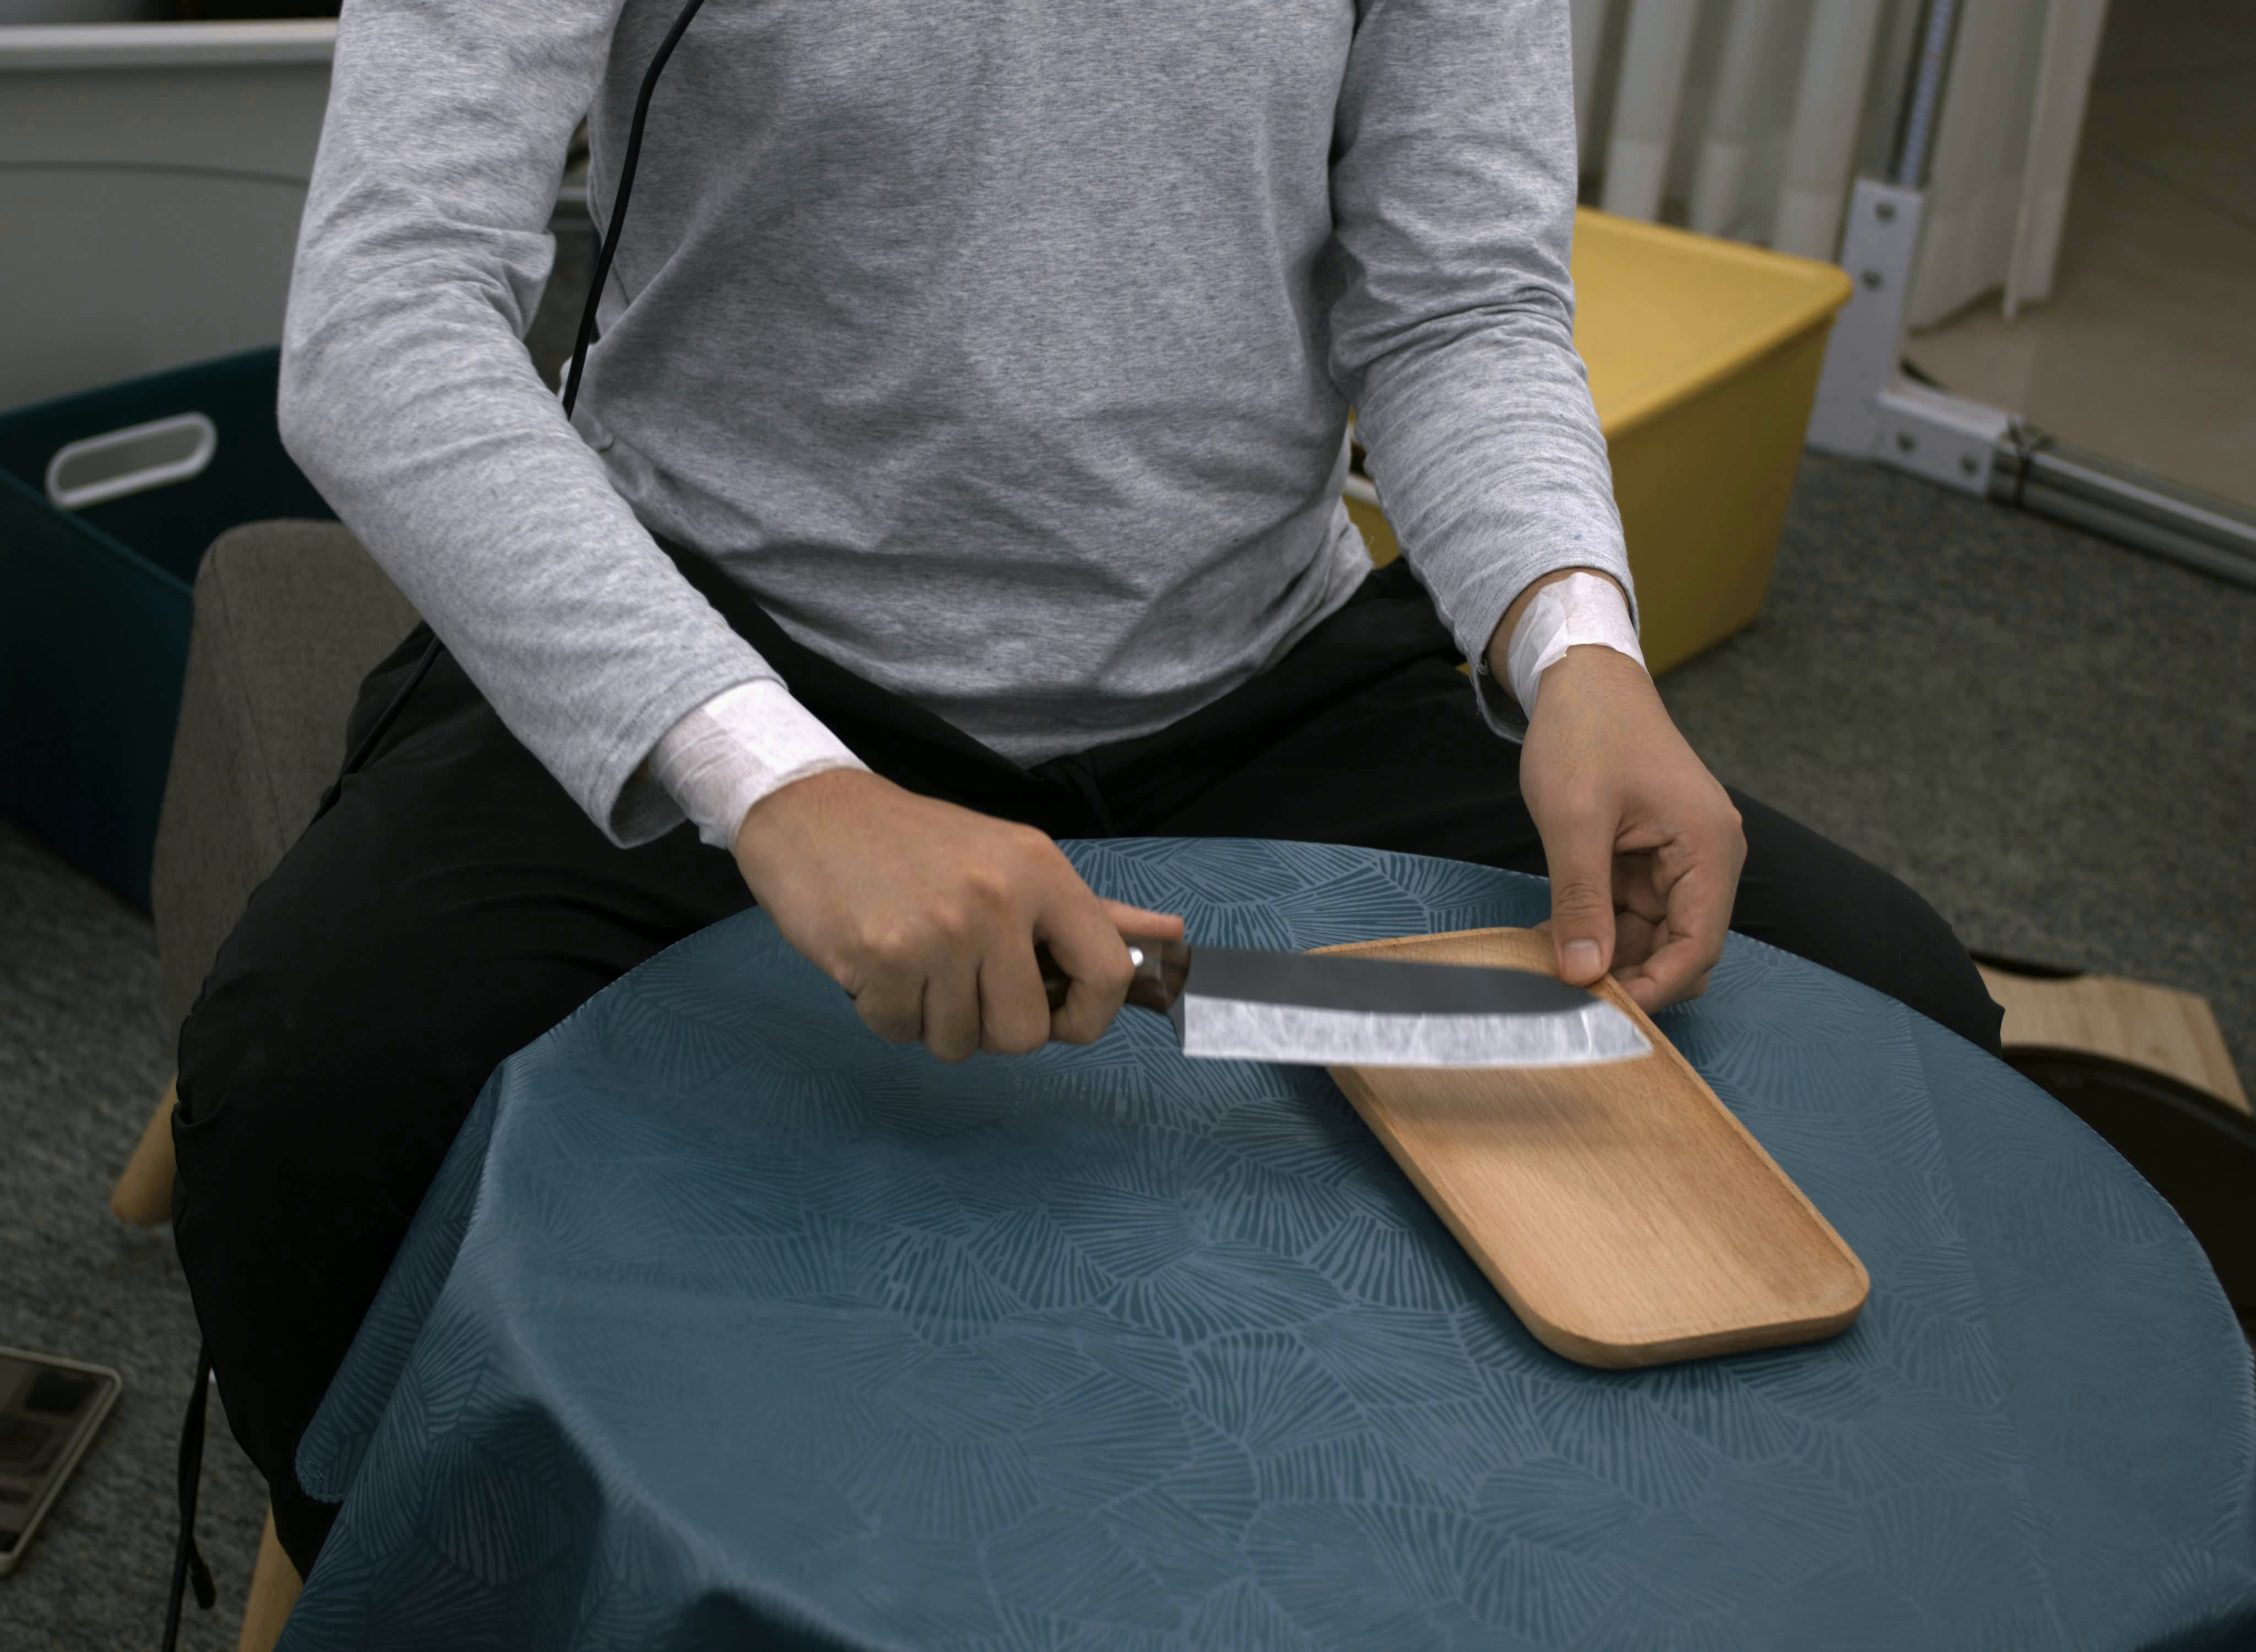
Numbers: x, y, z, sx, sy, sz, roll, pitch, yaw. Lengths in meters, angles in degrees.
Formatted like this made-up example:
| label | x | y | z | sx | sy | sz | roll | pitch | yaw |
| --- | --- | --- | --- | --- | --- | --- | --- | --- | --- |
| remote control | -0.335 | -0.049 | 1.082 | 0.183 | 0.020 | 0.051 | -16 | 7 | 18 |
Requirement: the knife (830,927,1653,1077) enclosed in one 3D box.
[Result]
| label | x | y | z | sx | sy | sz | roll | pitch | yaw |
| --- | --- | --- | --- | --- | --- | --- | --- | --- | --- |
| knife | 0.040 | 0.062 | 1.828 | 0.288 | 0.020 | 0.050 | 6 | 58 | -7 |

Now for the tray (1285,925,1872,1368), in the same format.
| label | x | y | z | sx | sy | sz | roll | pitch | yaw |
| --- | --- | --- | --- | --- | --- | --- | --- | --- | --- |
| tray | 0.151 | 0.108 | 1.841 | 0.129 | 0.023 | 0.253 | -3 | 30 | -23 |
